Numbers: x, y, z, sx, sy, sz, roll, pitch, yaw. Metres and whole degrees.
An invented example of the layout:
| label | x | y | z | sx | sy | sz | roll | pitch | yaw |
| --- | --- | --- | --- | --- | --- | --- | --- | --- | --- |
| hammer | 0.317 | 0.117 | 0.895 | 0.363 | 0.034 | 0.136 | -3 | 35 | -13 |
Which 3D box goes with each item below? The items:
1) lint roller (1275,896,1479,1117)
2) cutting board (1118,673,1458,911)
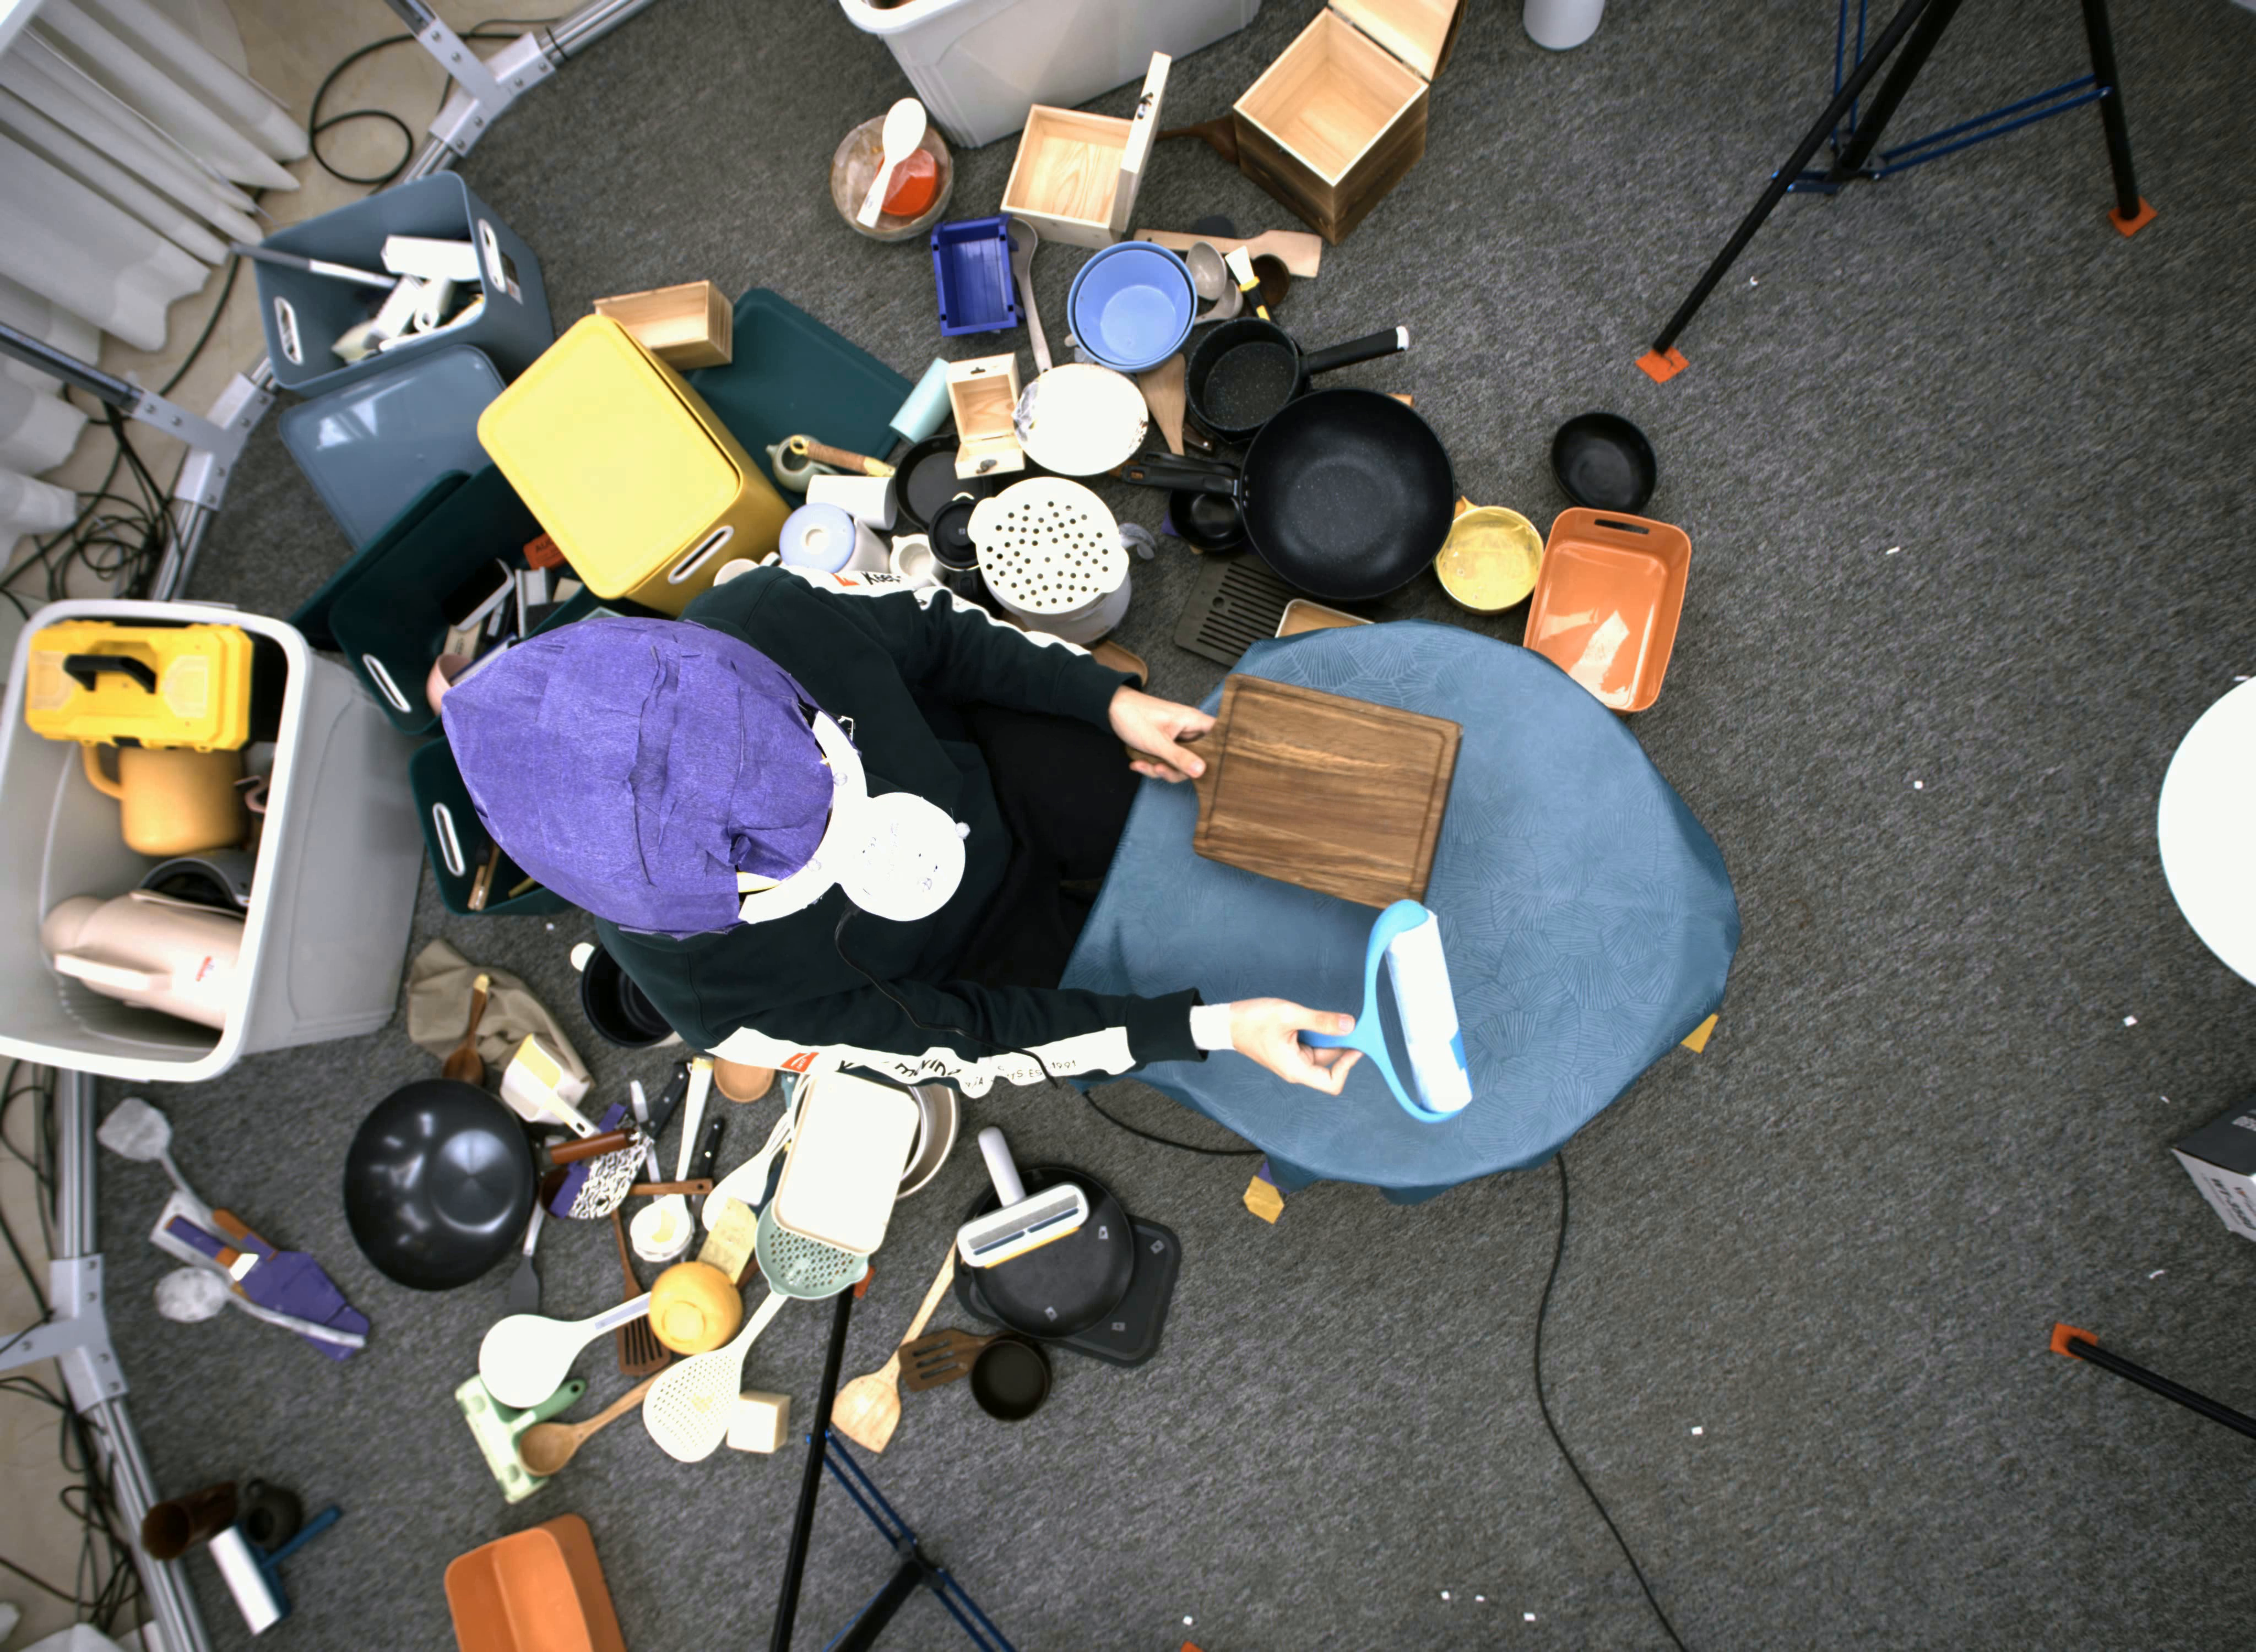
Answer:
| label | x | y | z | sx | sy | sz | roll | pitch | yaw |
| --- | --- | --- | --- | --- | --- | --- | --- | --- | --- |
| lint roller | 0.227 | 0.185 | 1.313 | 0.181 | 0.066 | 0.232 | -16 | 112 | 14 |
| cutting board | 0.146 | -0.047 | 1.397 | 0.352 | 0.023 | 0.203 | 16 | 104 | 26 |
